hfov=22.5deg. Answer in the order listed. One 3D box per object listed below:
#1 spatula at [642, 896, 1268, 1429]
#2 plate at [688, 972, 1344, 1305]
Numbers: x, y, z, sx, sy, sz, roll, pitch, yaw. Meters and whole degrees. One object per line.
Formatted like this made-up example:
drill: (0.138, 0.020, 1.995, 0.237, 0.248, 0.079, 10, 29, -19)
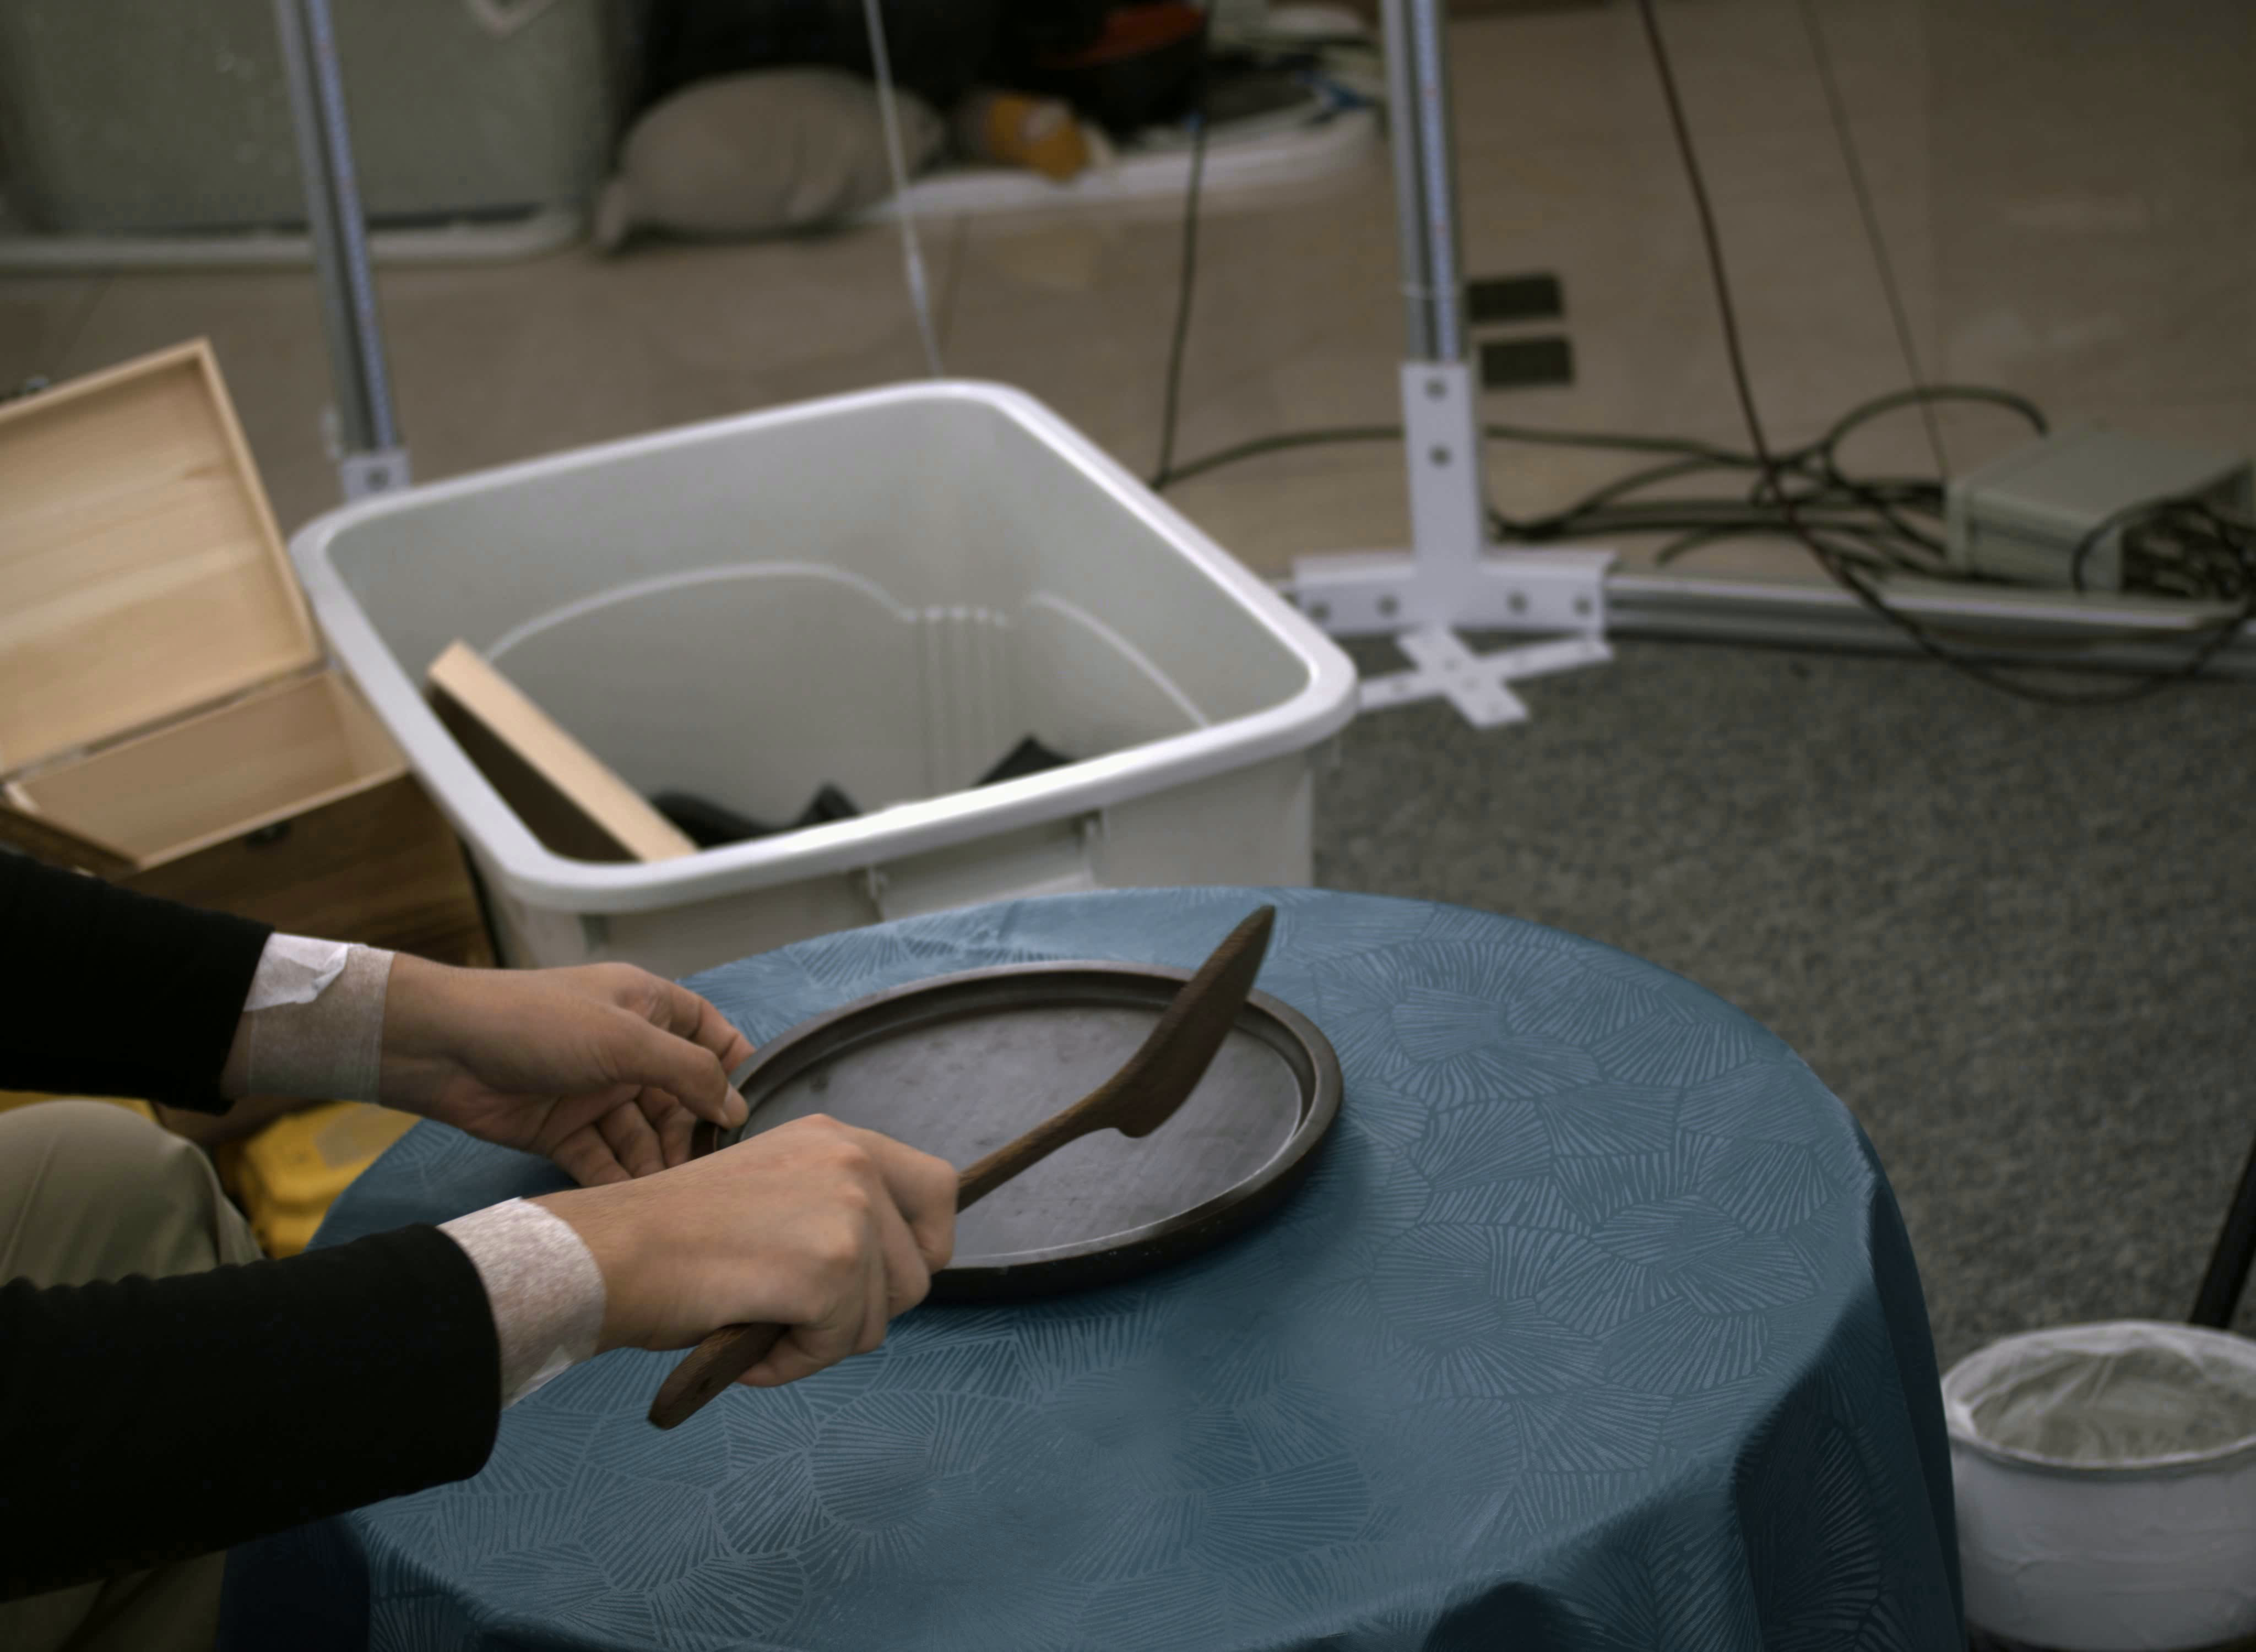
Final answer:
spatula: (-0.056, 0.122, 1.975, 0.015, 0.098, 0.382, 36, 36, 17)
plate: (-0.043, 0.118, 2.179, 0.254, 0.029, 0.251, -4, 26, 2)
